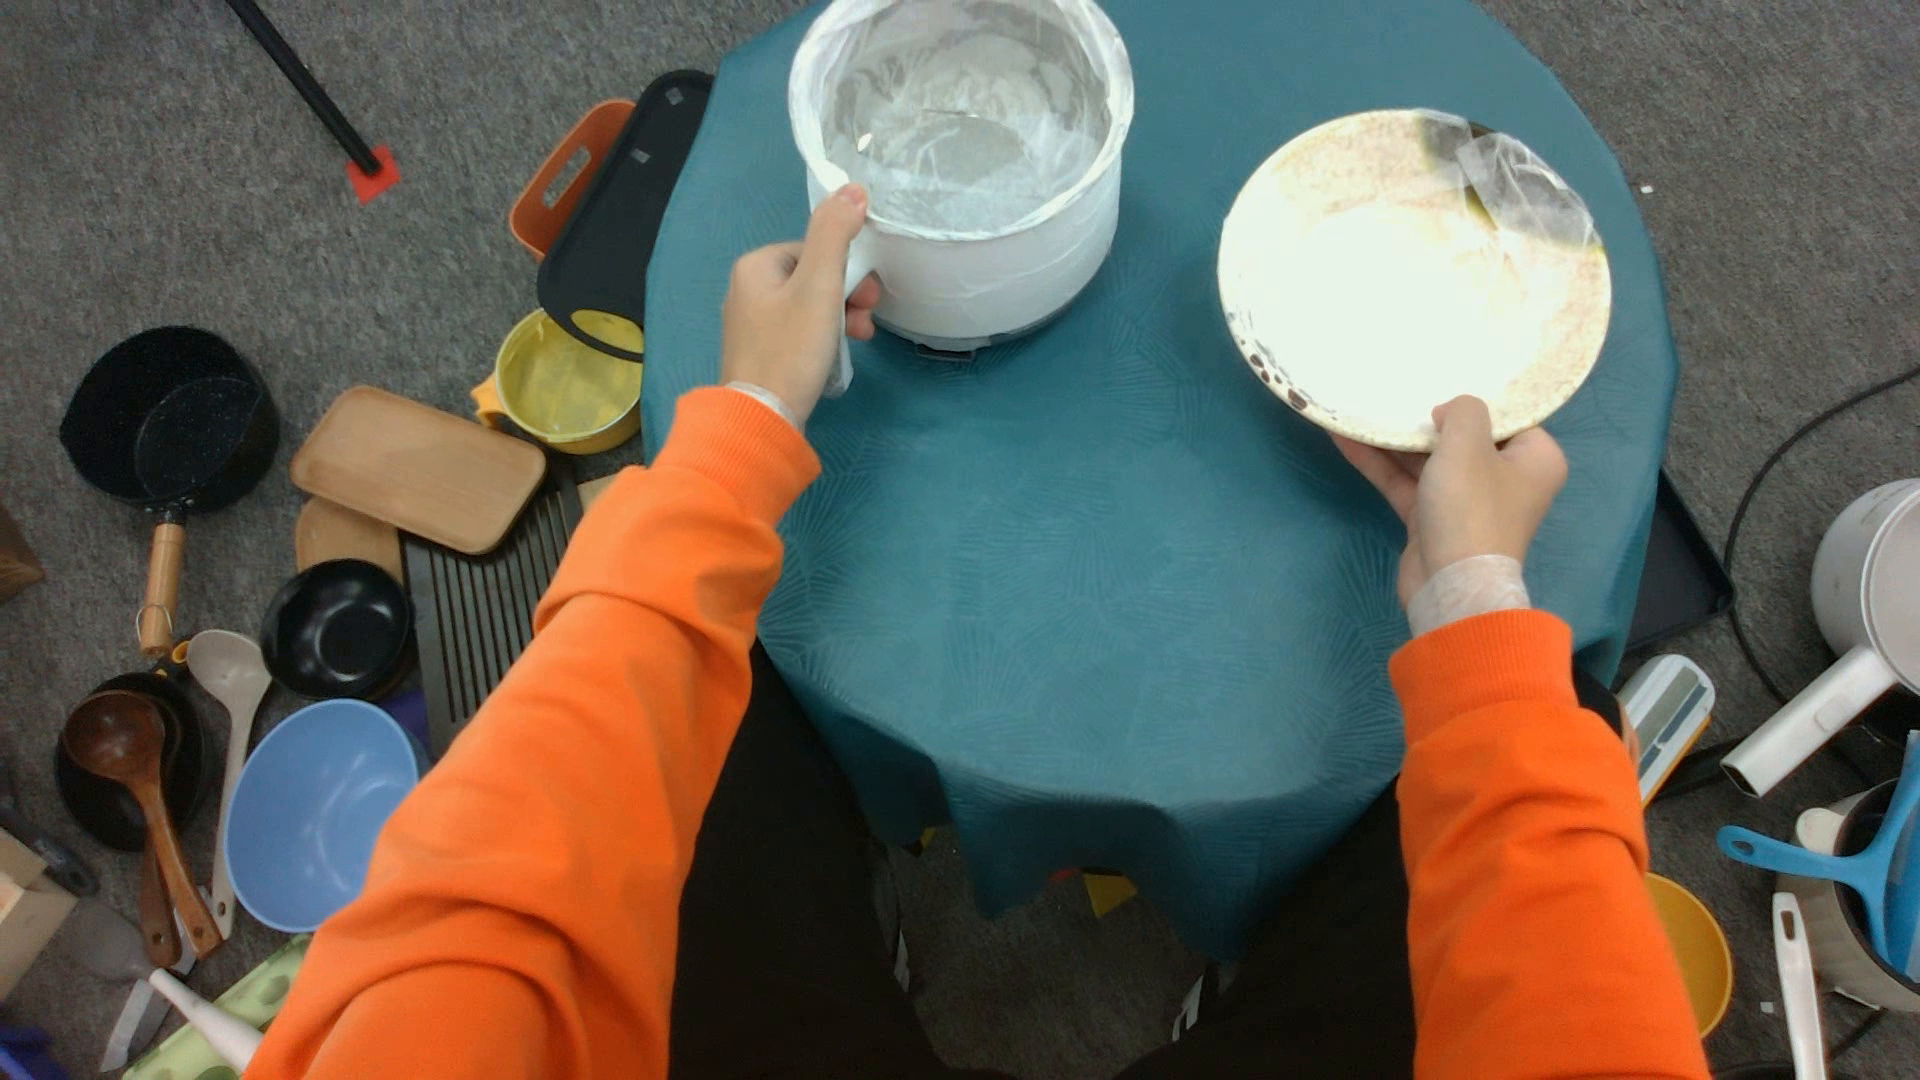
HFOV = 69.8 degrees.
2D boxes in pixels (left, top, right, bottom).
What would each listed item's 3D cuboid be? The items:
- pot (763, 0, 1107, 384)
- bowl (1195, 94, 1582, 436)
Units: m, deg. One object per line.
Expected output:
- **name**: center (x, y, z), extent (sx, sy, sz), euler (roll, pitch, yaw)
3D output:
- **pot**: center (-0.027, -0.194, 0.758), extent (0.179, 0.136, 0.234), euler (33, 74, 13)
- **bowl**: center (0.228, -0.140, 0.767), extent (0.204, 0.078, 0.204), euler (0, 73, 1)
